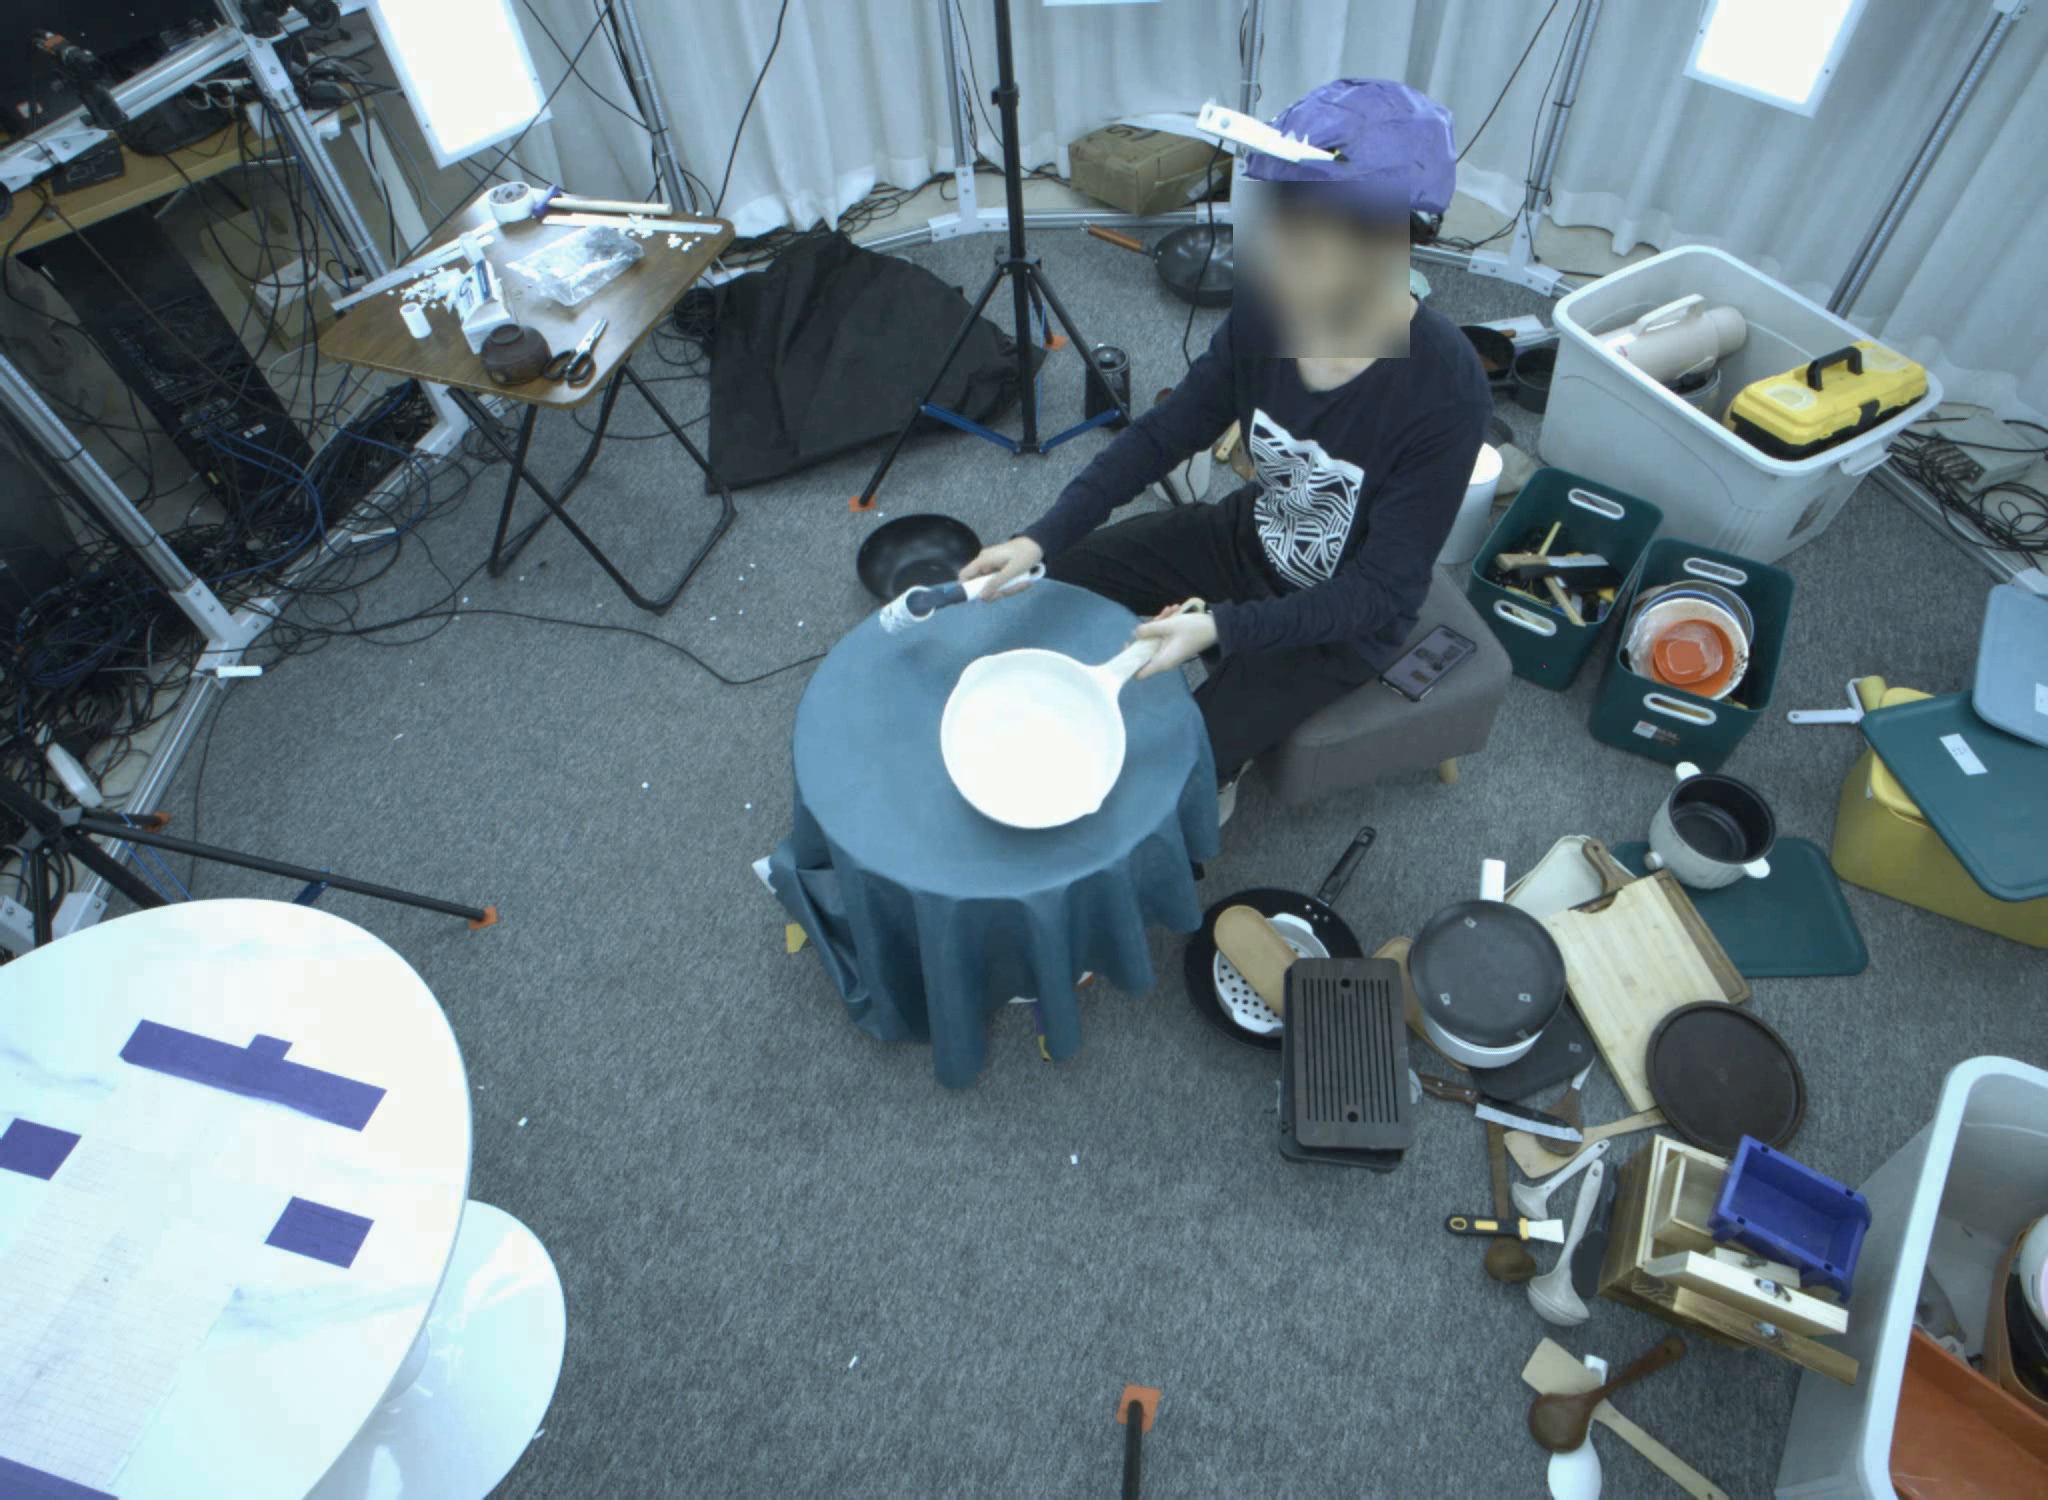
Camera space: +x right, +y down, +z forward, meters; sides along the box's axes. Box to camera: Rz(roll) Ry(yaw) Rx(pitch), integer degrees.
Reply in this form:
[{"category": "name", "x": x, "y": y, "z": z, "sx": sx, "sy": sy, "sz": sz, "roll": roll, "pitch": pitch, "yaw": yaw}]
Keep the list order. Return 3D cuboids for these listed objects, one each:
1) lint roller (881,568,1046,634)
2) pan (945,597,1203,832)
[{"category": "lint roller", "x": -0.084, "y": -0.236, "z": 1.833, "sx": 0.250, "sy": 0.174, "sz": 0.050, "roll": -21, "pitch": 95, "yaw": -20}, {"category": "pan", "x": 0.083, "y": -0.063, "z": 1.726, "sx": 0.437, "sy": 0.102, "sz": 0.262, "roll": -39, "pitch": 84, "yaw": -16}]
